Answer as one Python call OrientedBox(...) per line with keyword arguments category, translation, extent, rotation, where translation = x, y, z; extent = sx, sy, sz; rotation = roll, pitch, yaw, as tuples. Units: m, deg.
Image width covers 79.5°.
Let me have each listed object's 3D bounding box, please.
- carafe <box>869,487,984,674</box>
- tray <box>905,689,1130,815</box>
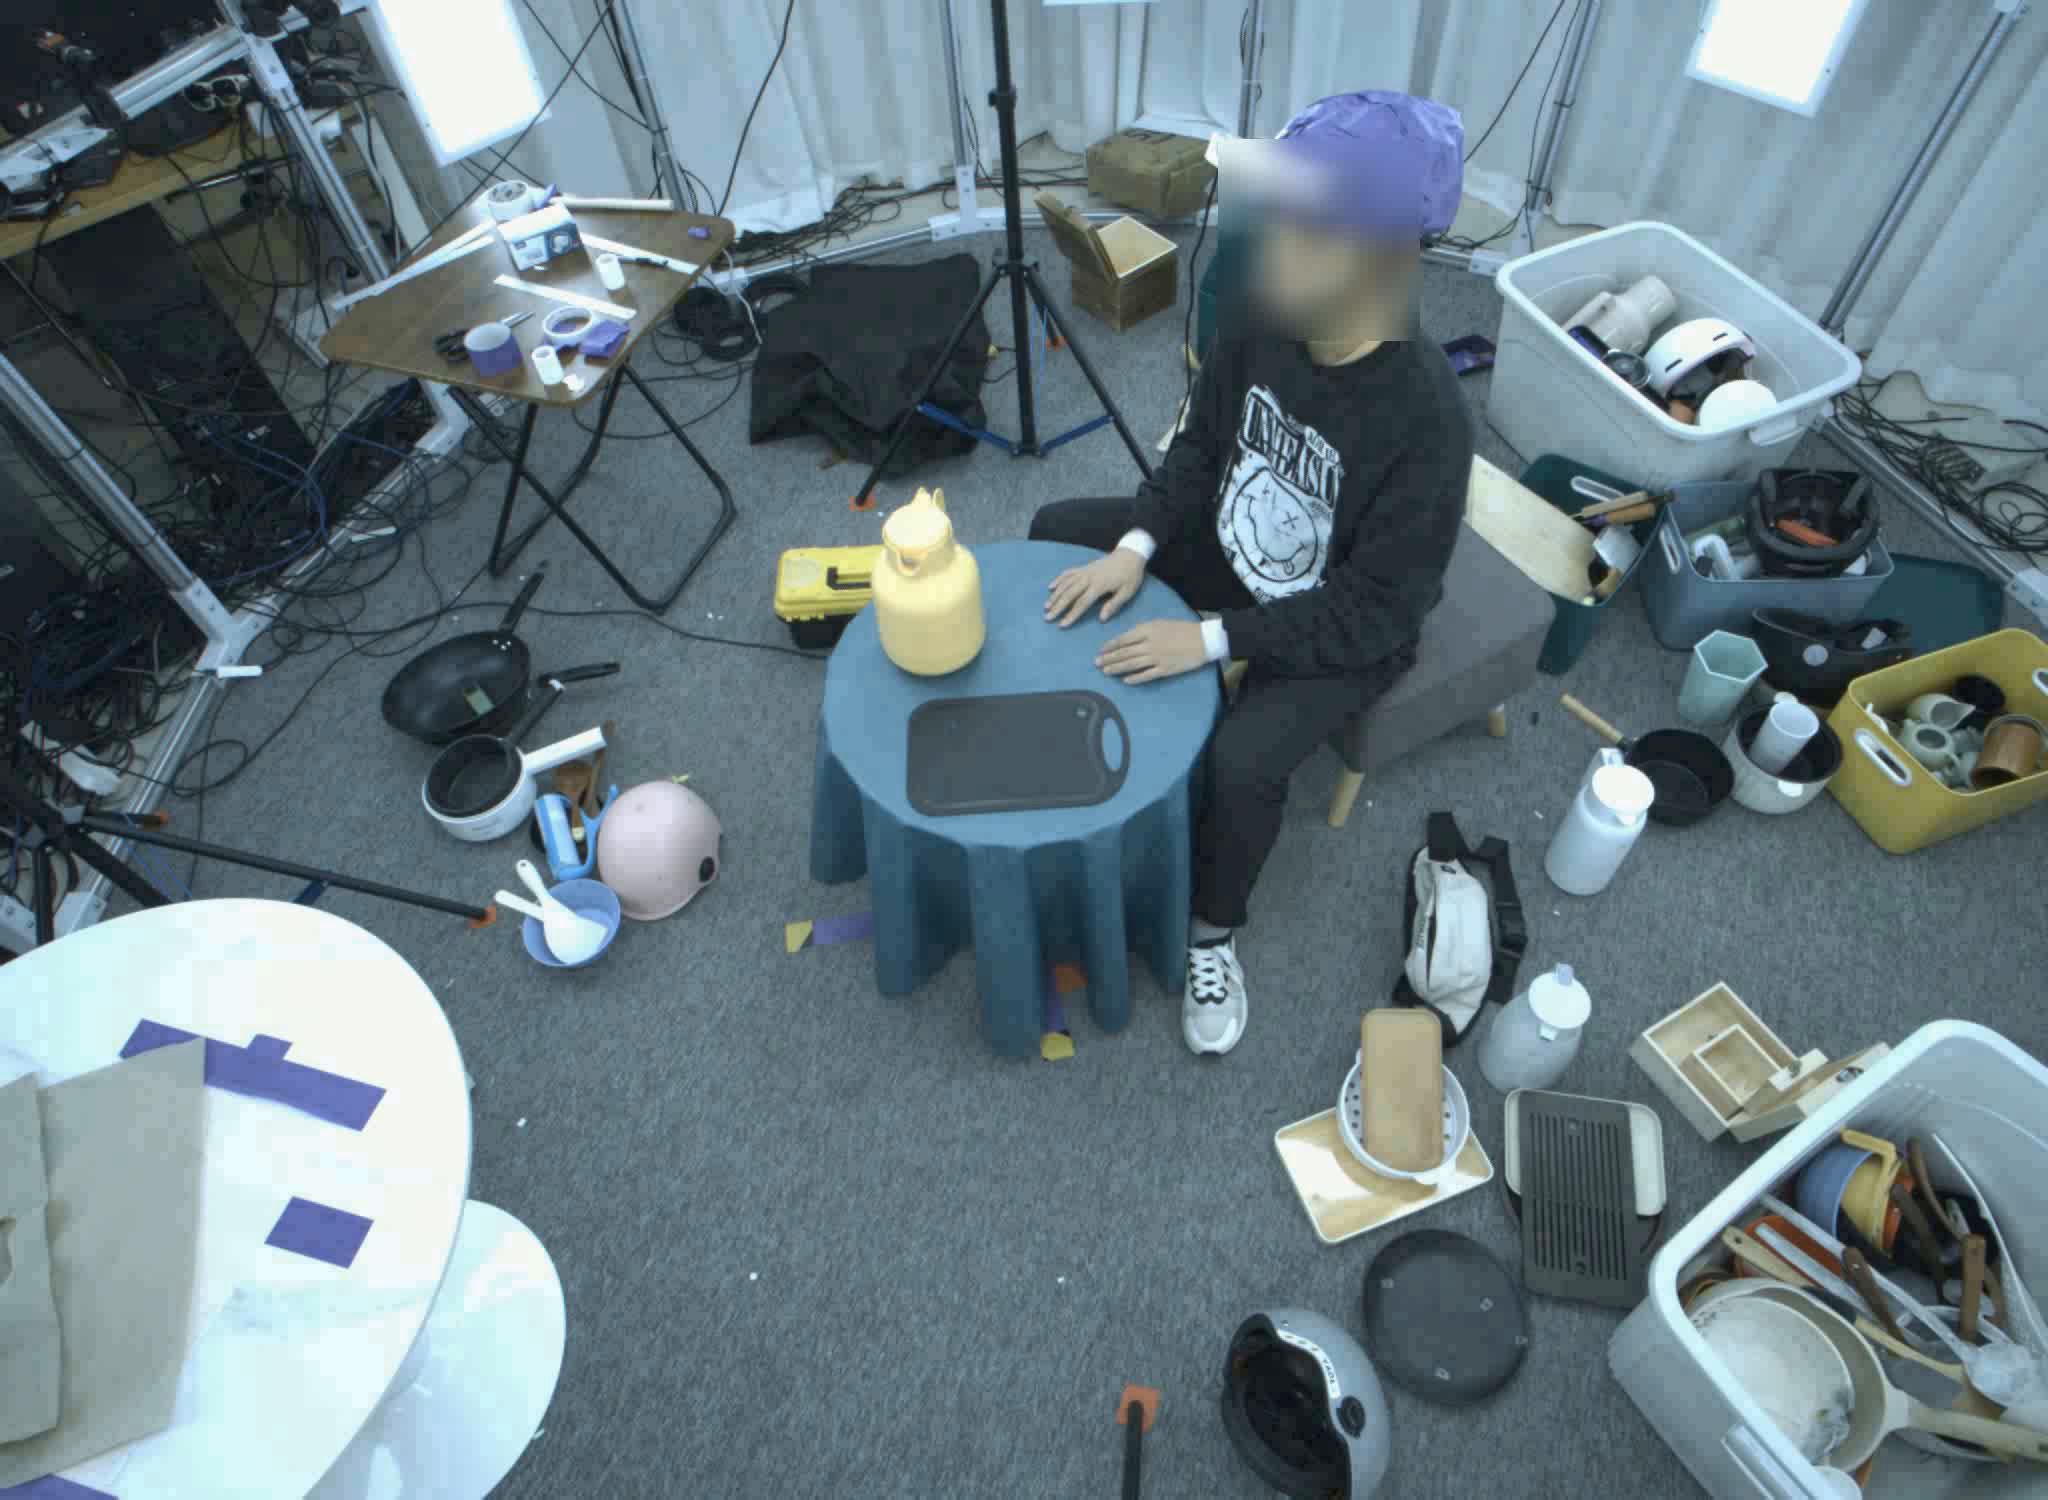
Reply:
OrientedBox(category="carafe", translation=(-0.143, -0.258, 1.810), extent=(0.163, 0.263, 0.201), rotation=(7, 56, 6))
OrientedBox(category="tray", translation=(-0.010, -0.002, 1.781), extent=(0.326, 0.010, 0.208), rotation=(-3, 55, -1))
